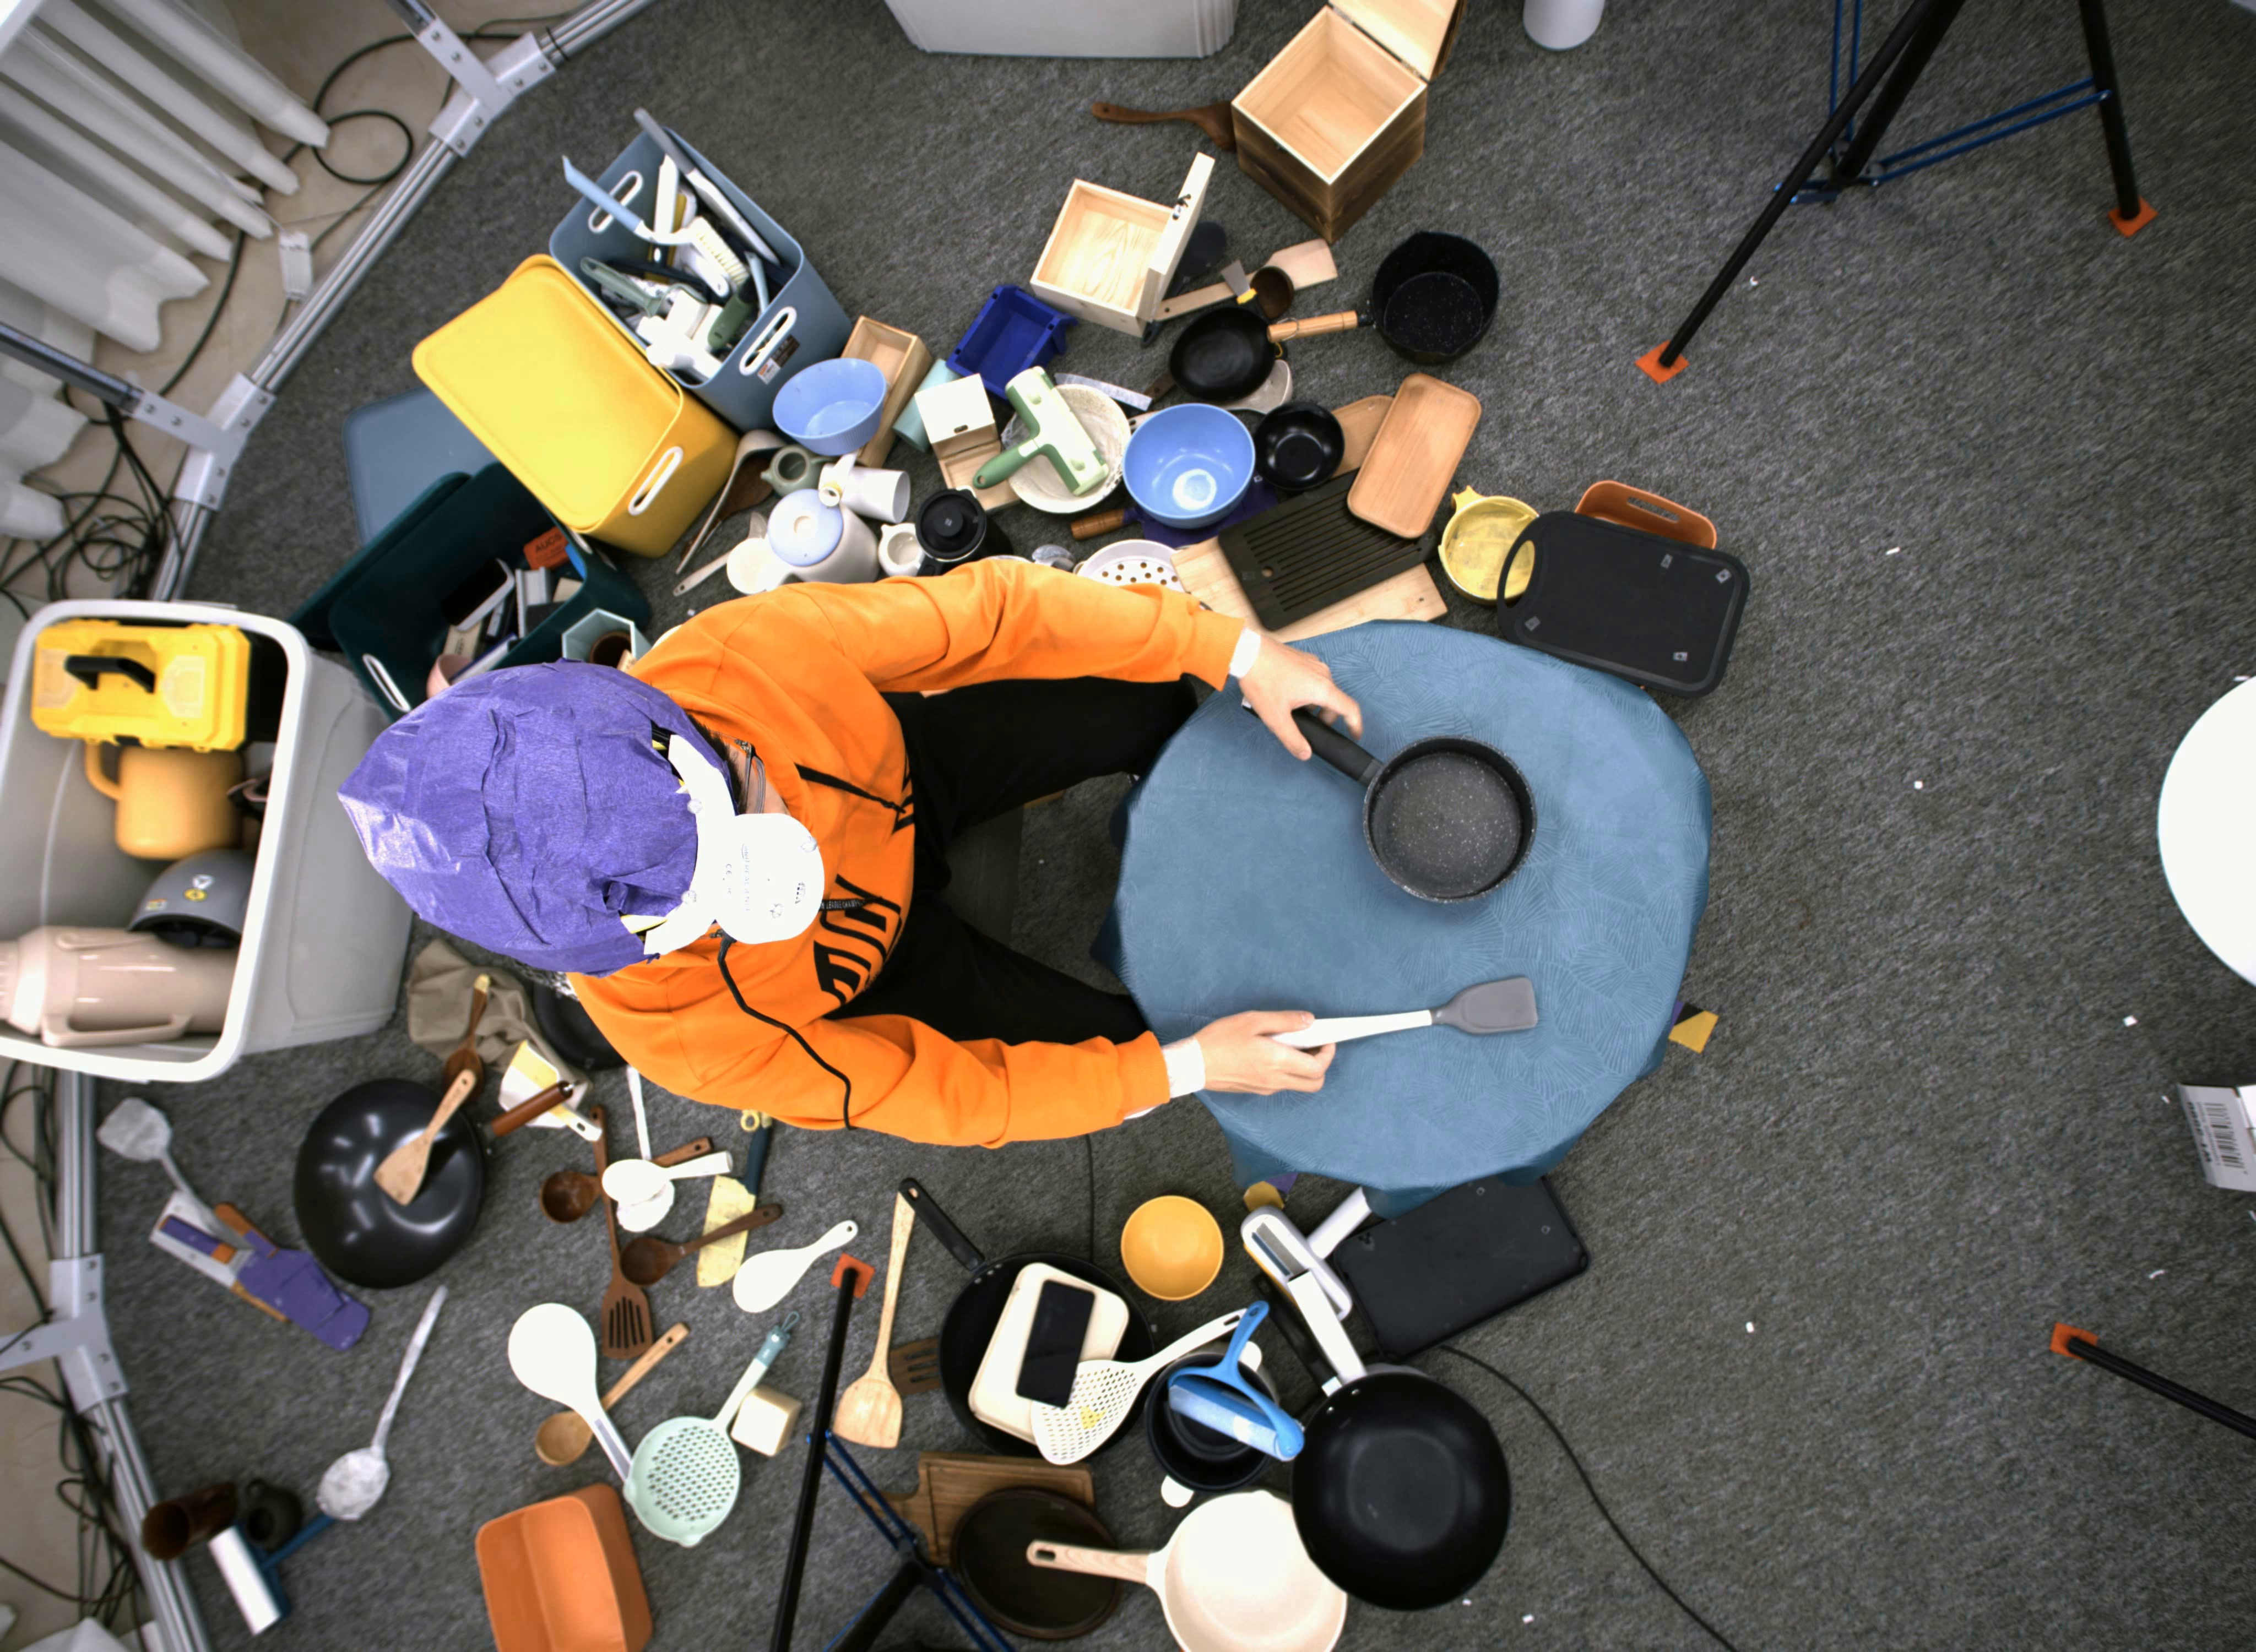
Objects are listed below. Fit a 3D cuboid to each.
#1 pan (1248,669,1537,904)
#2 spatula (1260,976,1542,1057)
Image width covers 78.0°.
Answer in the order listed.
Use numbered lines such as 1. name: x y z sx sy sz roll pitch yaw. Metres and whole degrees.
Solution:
1. pan: 0.265 -0.051 1.425 0.328 0.086 0.172 36 92 9
2. spatula: 0.280 0.200 1.429 0.288 0.032 0.058 -9 71 4
